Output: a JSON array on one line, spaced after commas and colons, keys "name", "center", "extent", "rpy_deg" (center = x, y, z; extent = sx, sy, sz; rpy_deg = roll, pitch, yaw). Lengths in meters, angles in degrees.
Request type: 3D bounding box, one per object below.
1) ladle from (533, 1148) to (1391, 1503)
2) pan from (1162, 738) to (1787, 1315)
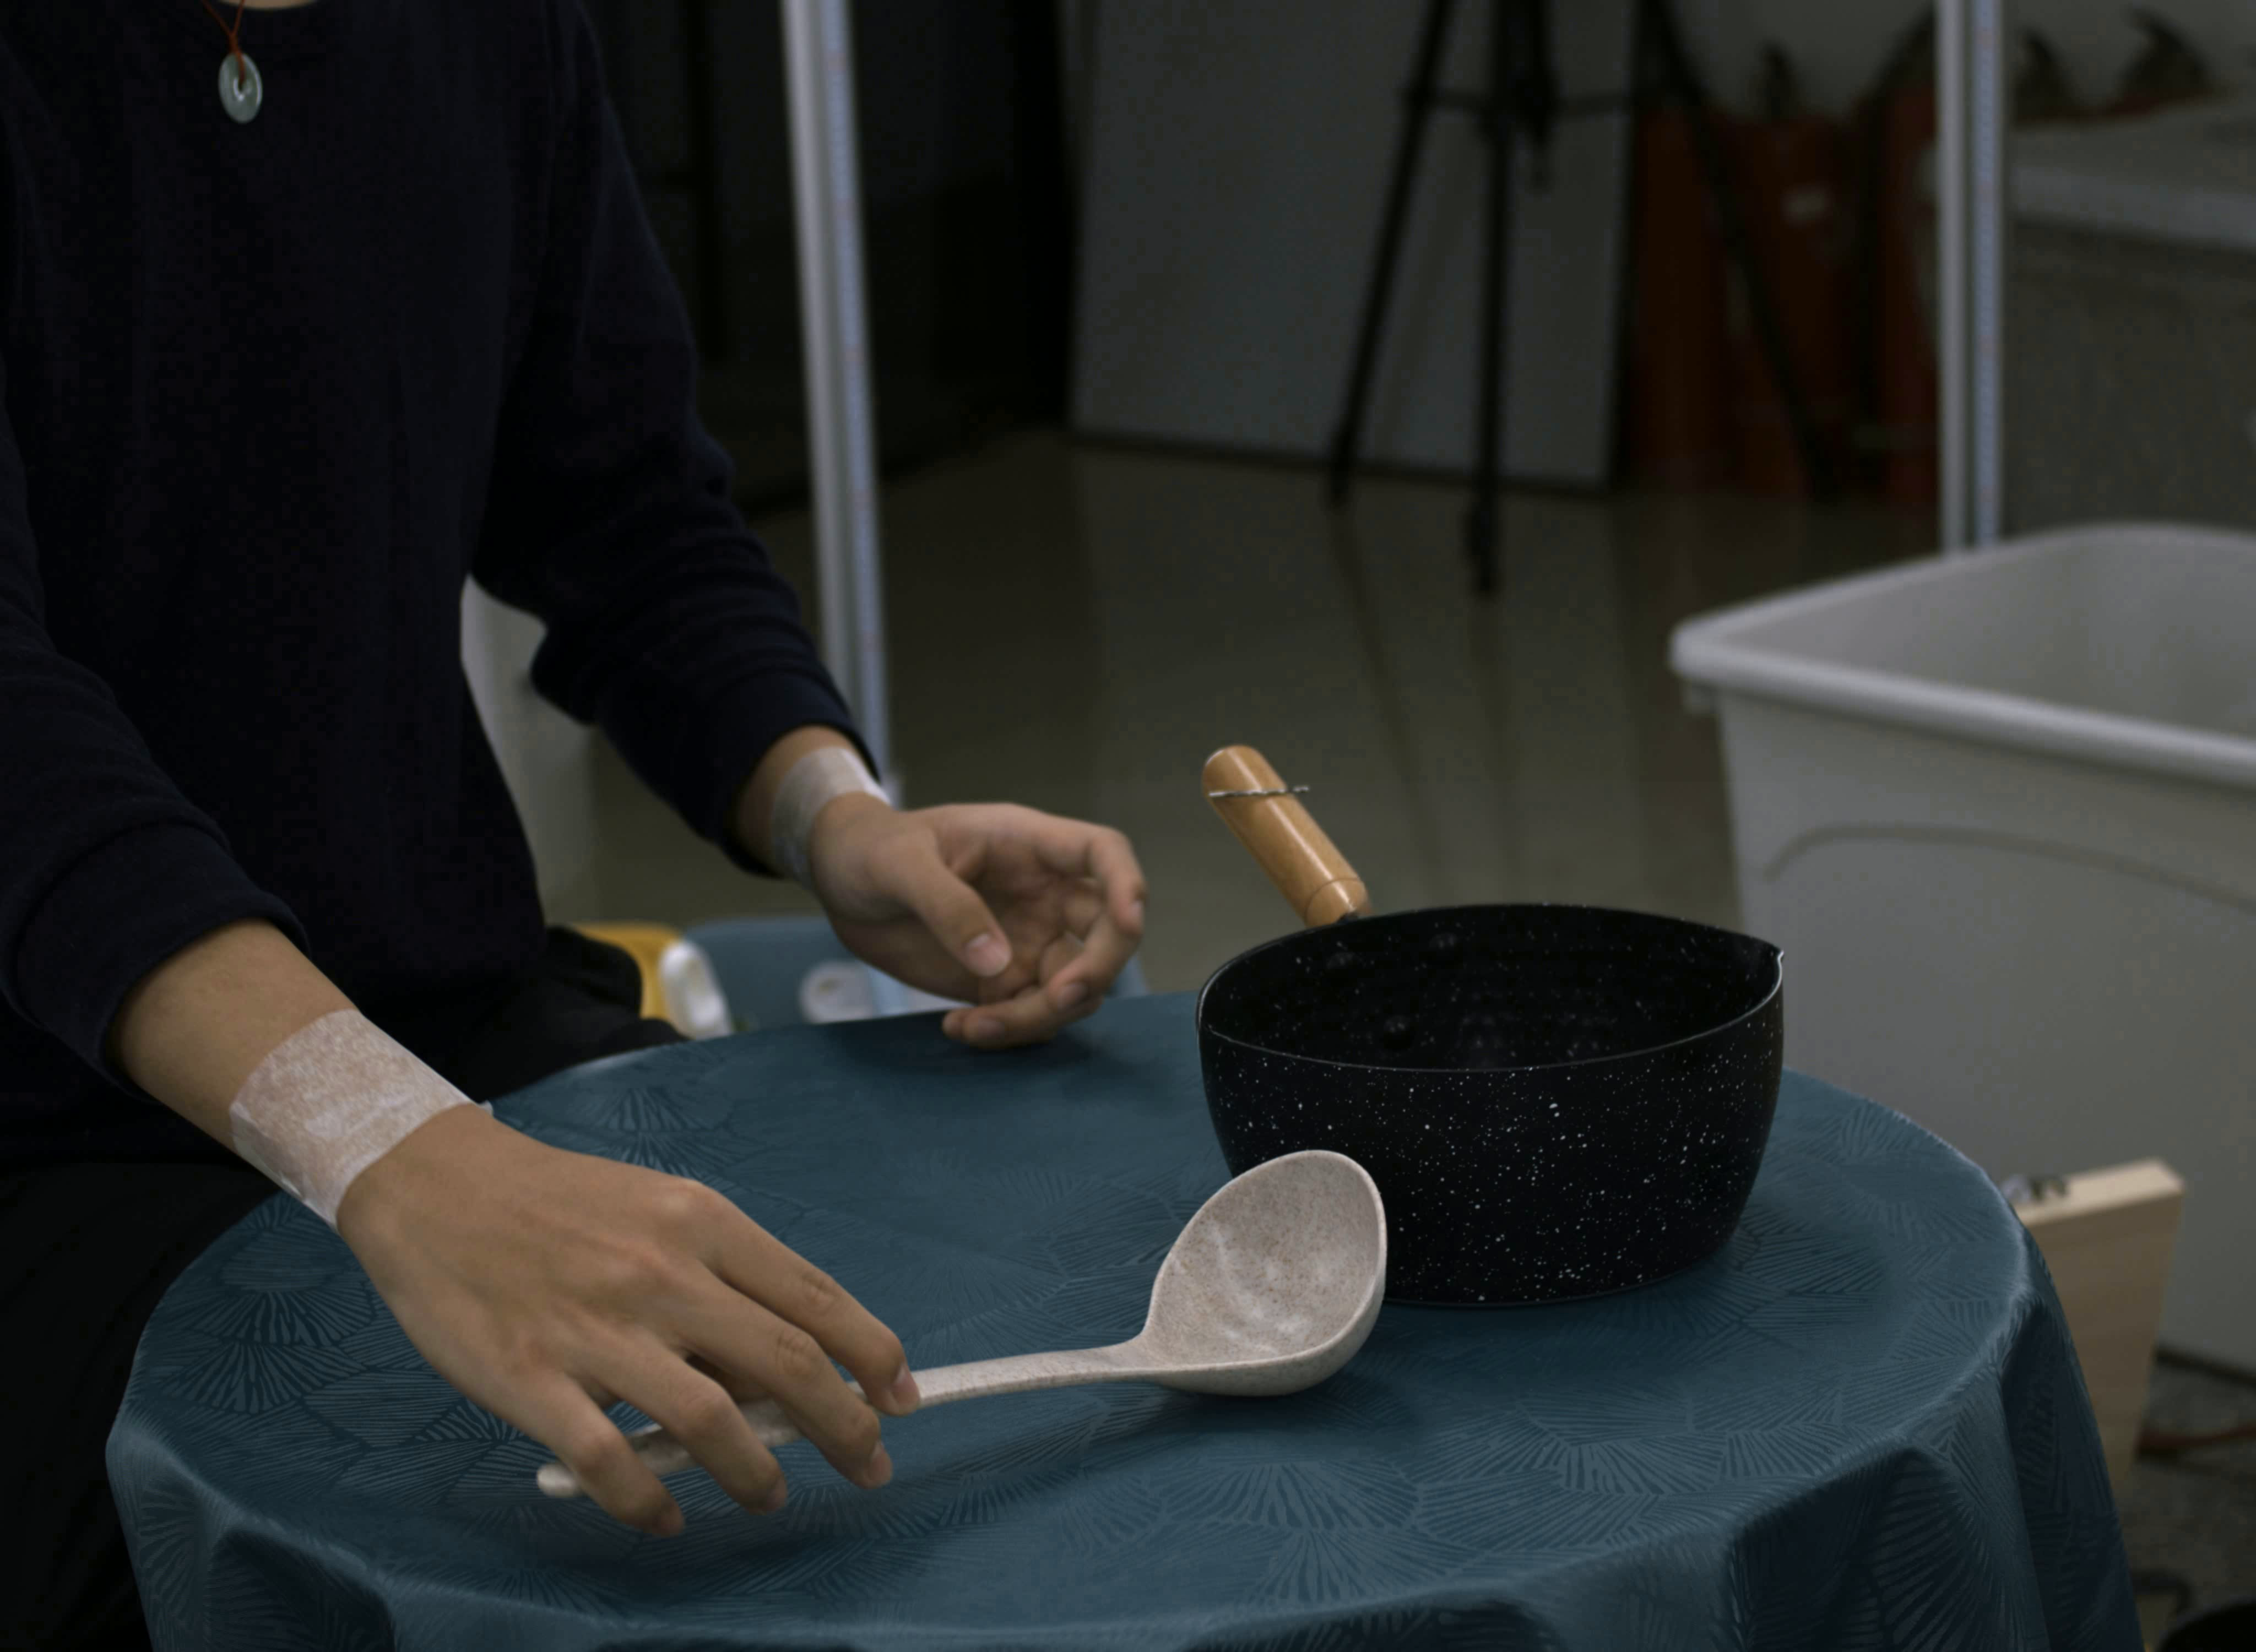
[{"name": "ladle", "center": [-0.044, 0.138, 1.516], "extent": [0.268, 0.070, 0.090], "rpy_deg": [-4, 20, -35]}, {"name": "pan", "center": [0.089, 0.060, 1.765], "extent": [0.203, 0.109, 0.346], "rpy_deg": [-10, 16, -17]}]
